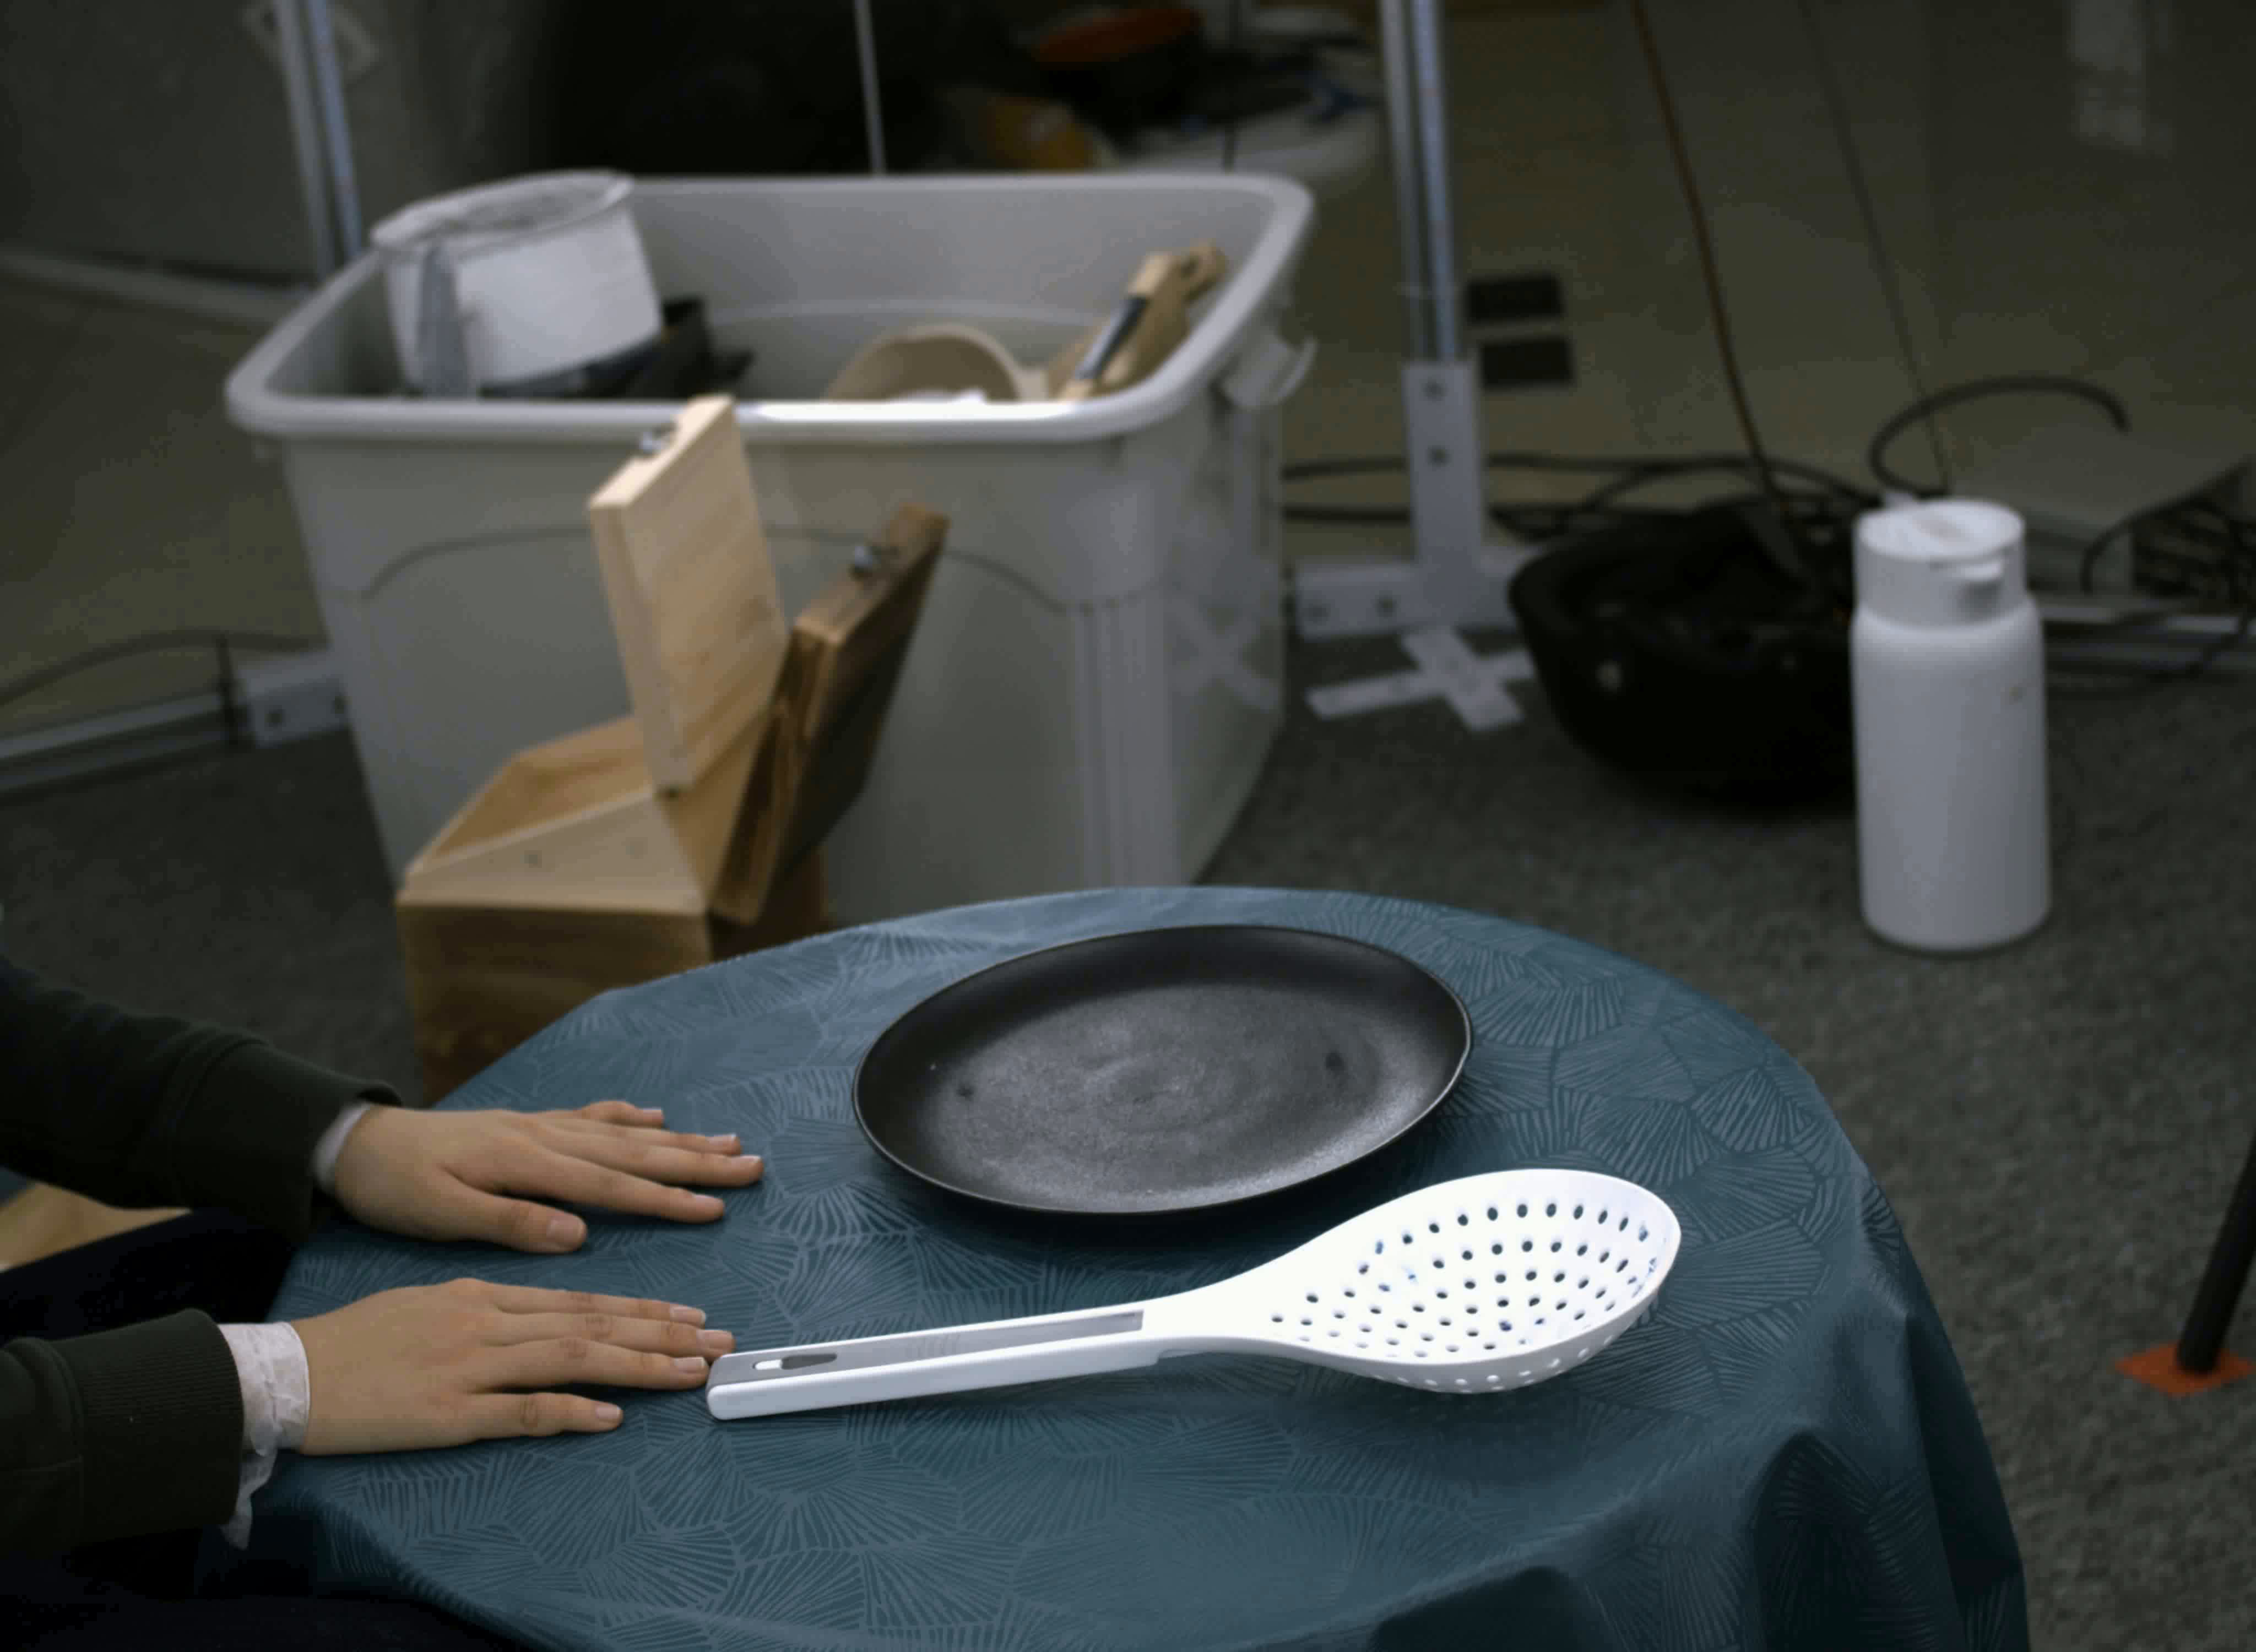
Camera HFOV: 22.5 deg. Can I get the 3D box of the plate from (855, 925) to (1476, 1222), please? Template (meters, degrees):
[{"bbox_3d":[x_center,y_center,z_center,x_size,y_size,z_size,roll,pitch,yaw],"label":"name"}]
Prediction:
[{"bbox_3d":[0.015,0.101,2.203,0.244,0.024,0.241,-5,25,3],"label":"plate"}]

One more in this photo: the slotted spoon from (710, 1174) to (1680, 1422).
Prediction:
[{"bbox_3d":[0.022,0.177,2.011,0.349,0.046,0.134,-4,23,6],"label":"slotted spoon"}]
